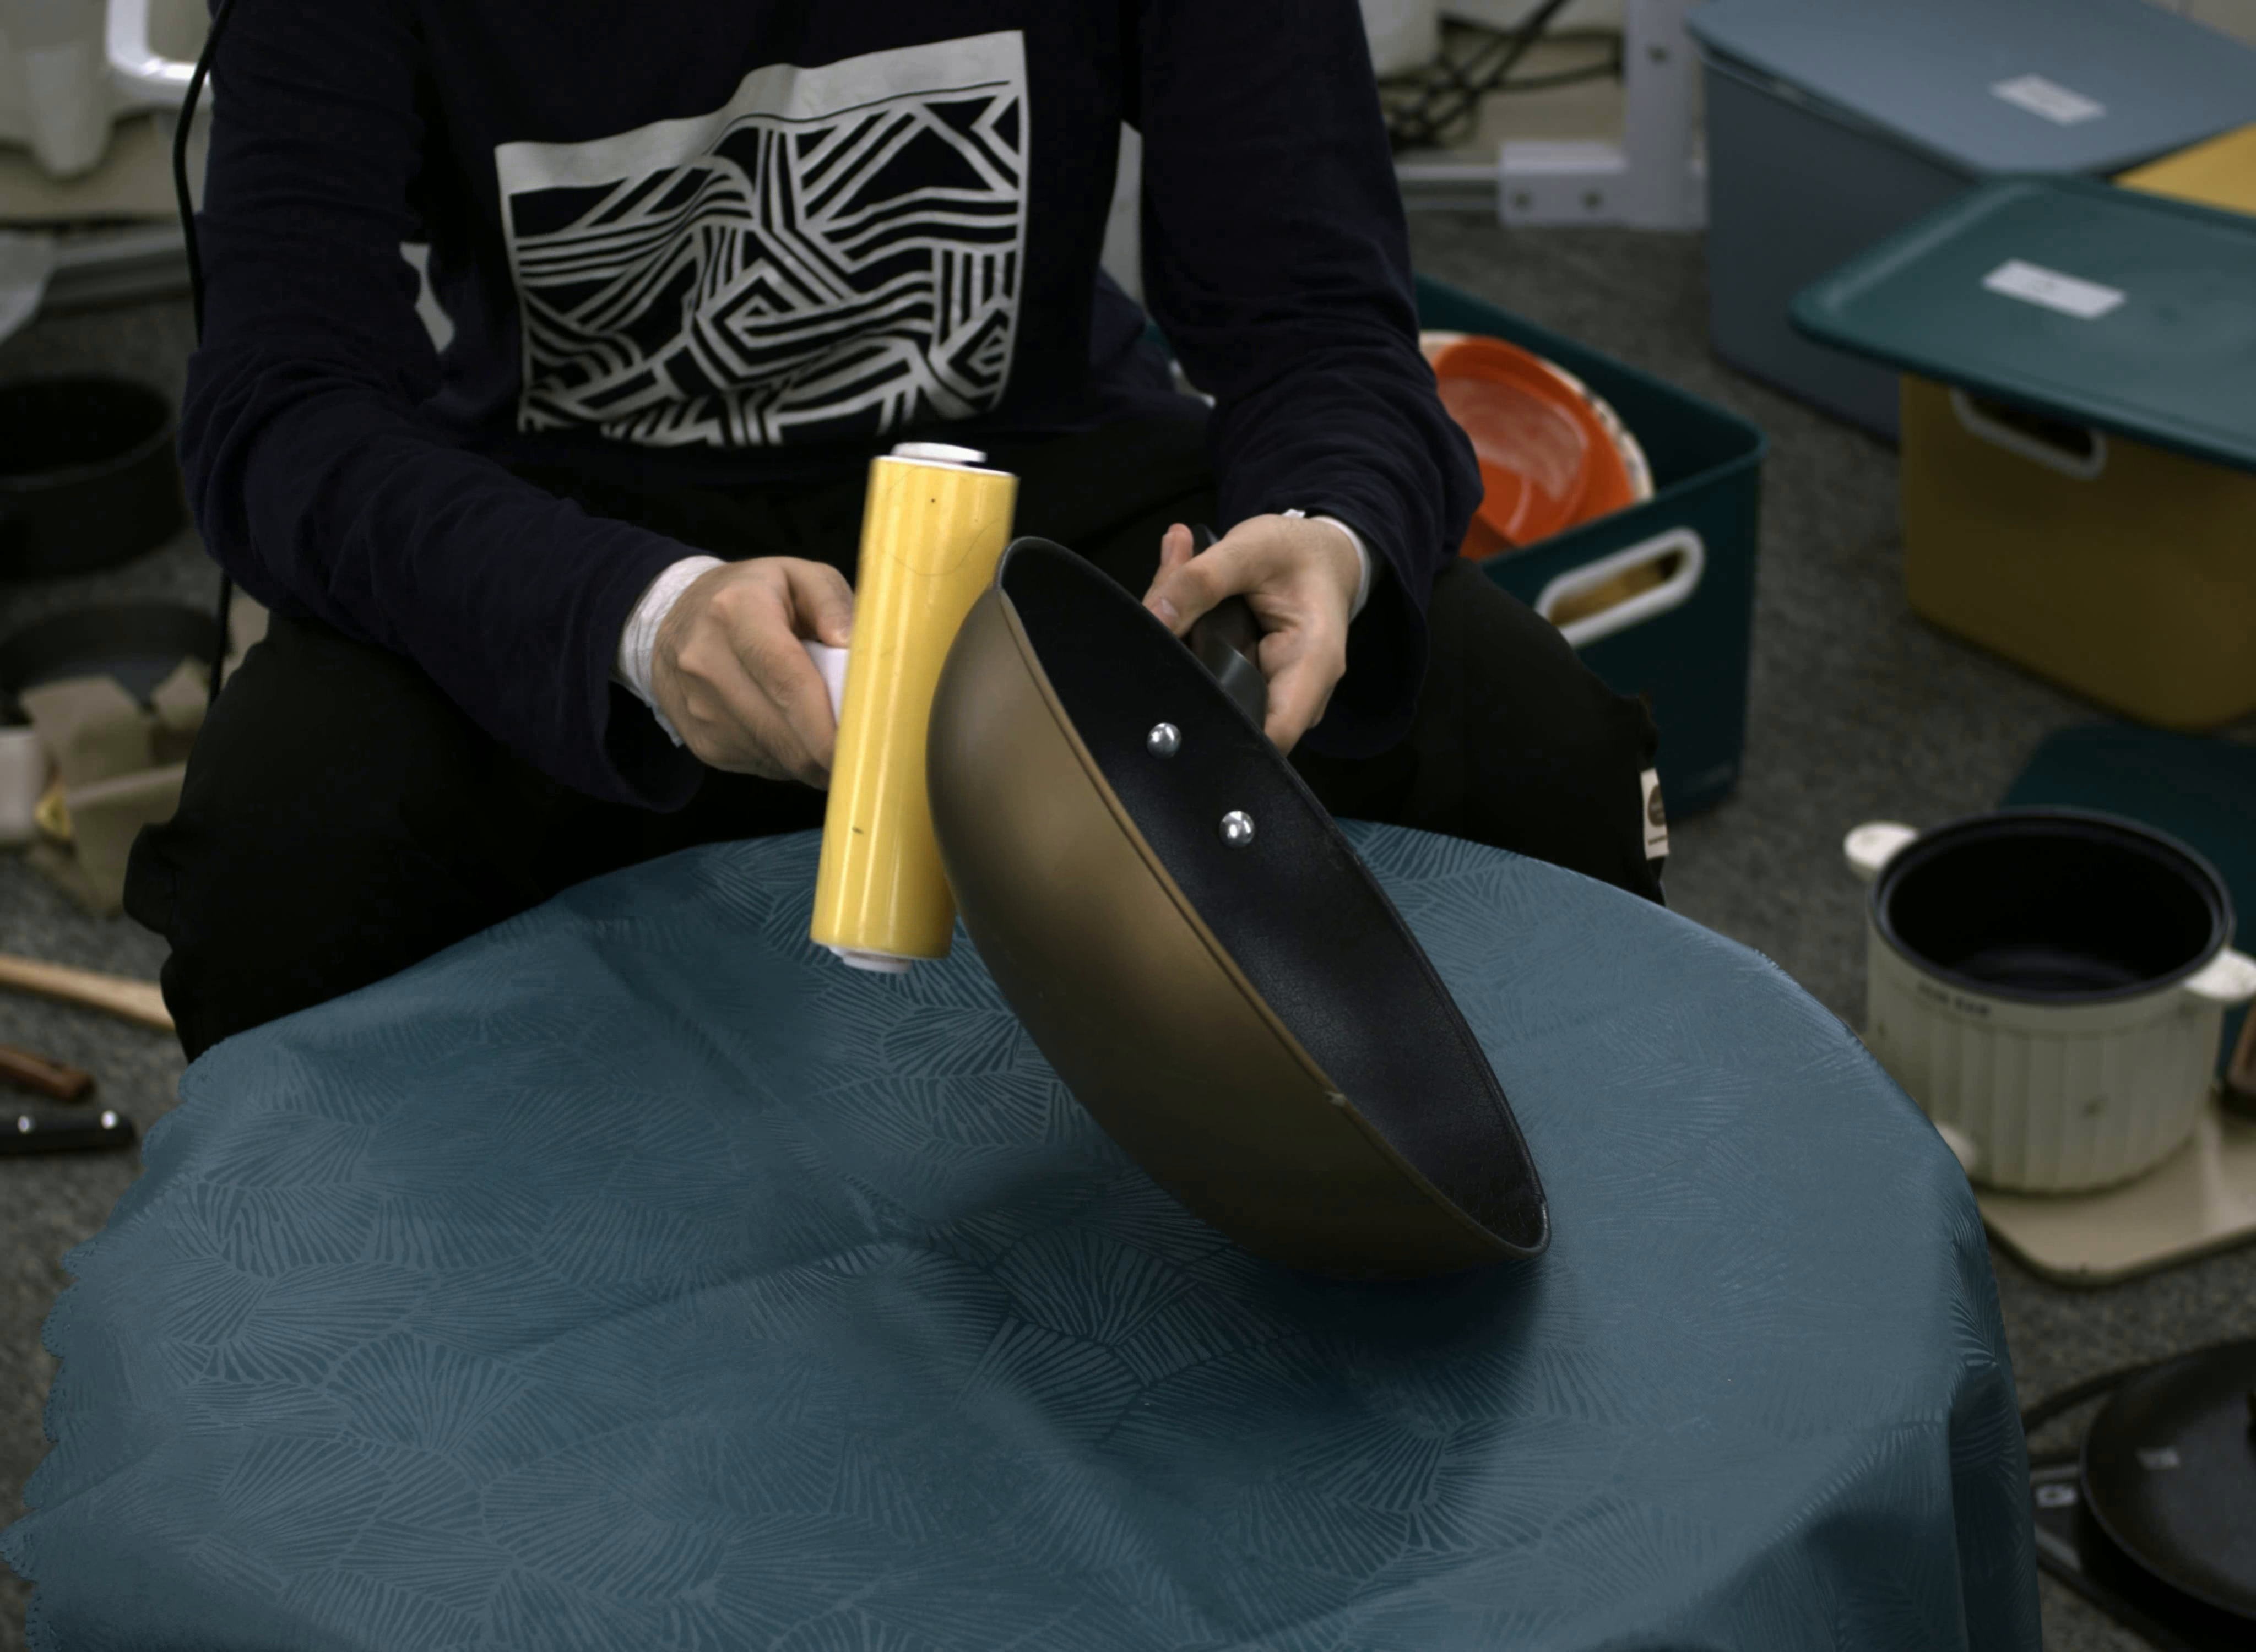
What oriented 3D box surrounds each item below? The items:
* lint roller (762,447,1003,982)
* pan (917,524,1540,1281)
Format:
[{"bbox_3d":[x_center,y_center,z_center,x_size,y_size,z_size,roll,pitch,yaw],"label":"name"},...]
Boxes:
[{"bbox_3d":[-0.102,-0.042,1.903,0.051,0.175,0.191,6,1,-26],"label":"lint roller"},{"bbox_3d":[0.013,0.005,1.876,0.086,0.286,0.469,-36,19,11],"label":"pan"}]
